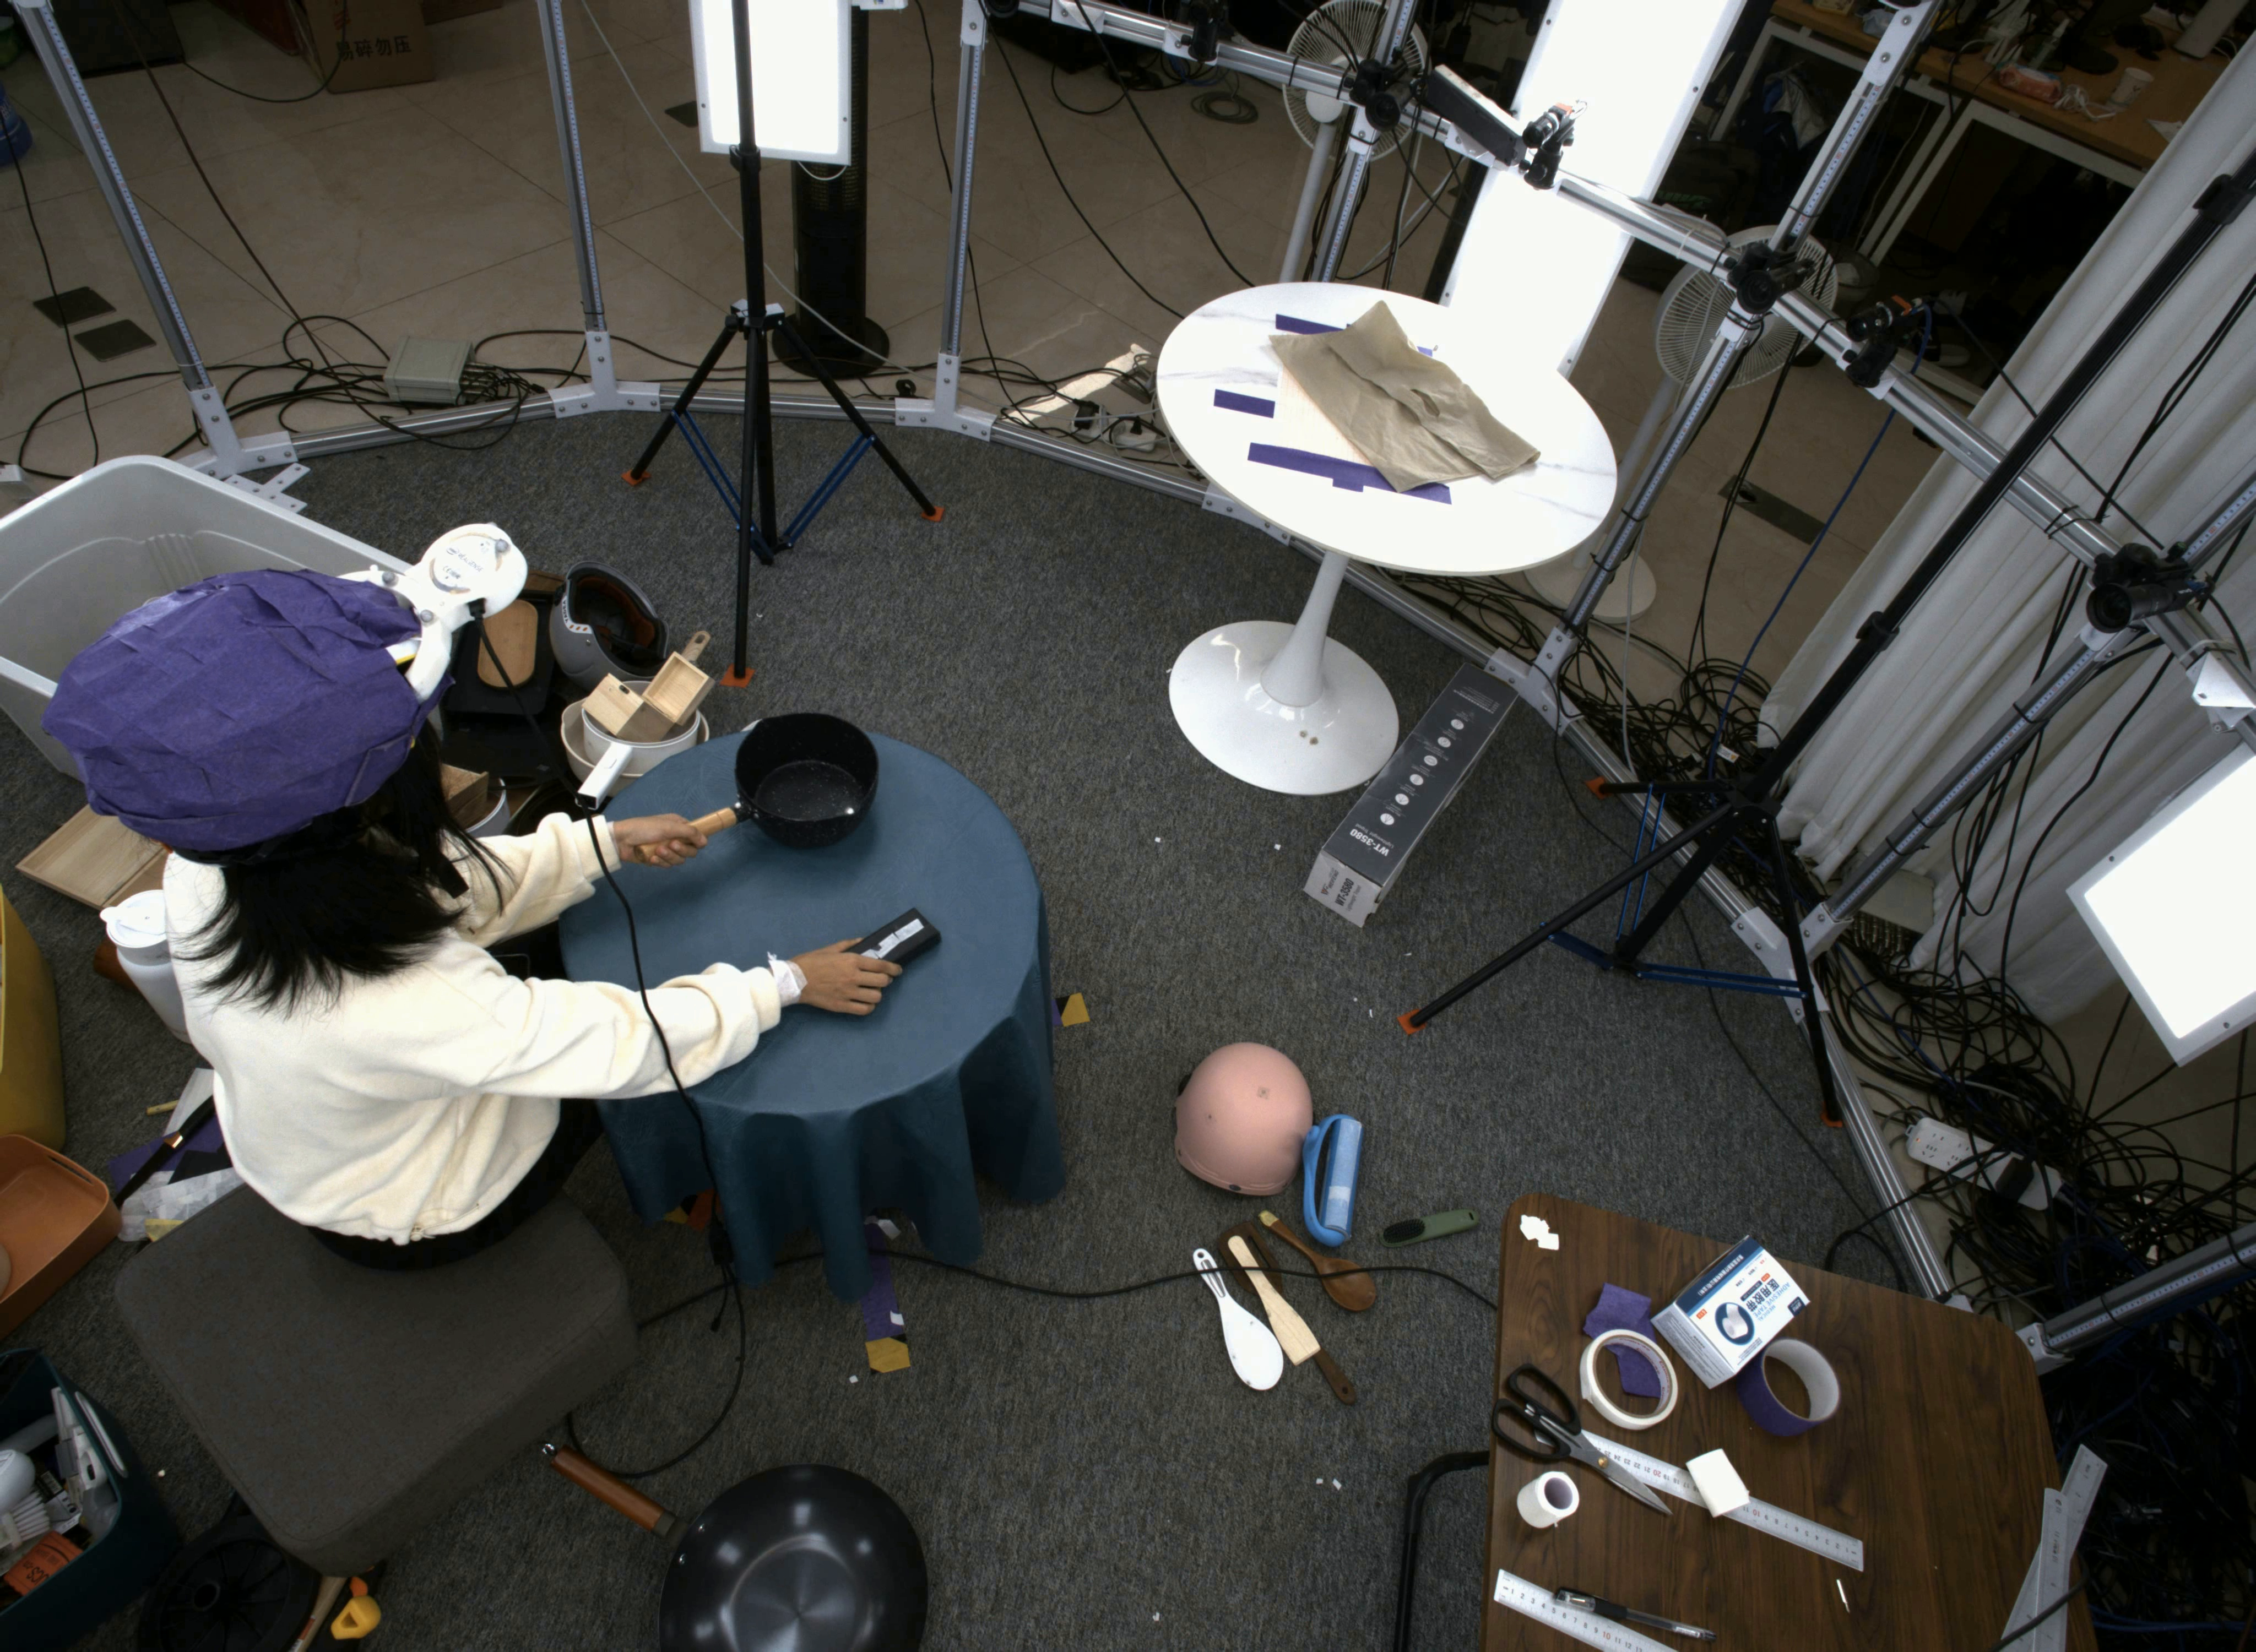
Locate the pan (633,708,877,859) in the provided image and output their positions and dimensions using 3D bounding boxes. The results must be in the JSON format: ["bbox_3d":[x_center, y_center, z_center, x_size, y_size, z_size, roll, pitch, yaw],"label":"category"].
[{"bbox_3d":[-0.474,-0.024,1.650,0.203,0.110,0.343,41,54,18],"label":"pan"}]

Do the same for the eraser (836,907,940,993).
[{"bbox_3d":[-0.299,0.151,1.620,0.126,0.031,0.052,-34,68,-33],"label":"eraser"}]
